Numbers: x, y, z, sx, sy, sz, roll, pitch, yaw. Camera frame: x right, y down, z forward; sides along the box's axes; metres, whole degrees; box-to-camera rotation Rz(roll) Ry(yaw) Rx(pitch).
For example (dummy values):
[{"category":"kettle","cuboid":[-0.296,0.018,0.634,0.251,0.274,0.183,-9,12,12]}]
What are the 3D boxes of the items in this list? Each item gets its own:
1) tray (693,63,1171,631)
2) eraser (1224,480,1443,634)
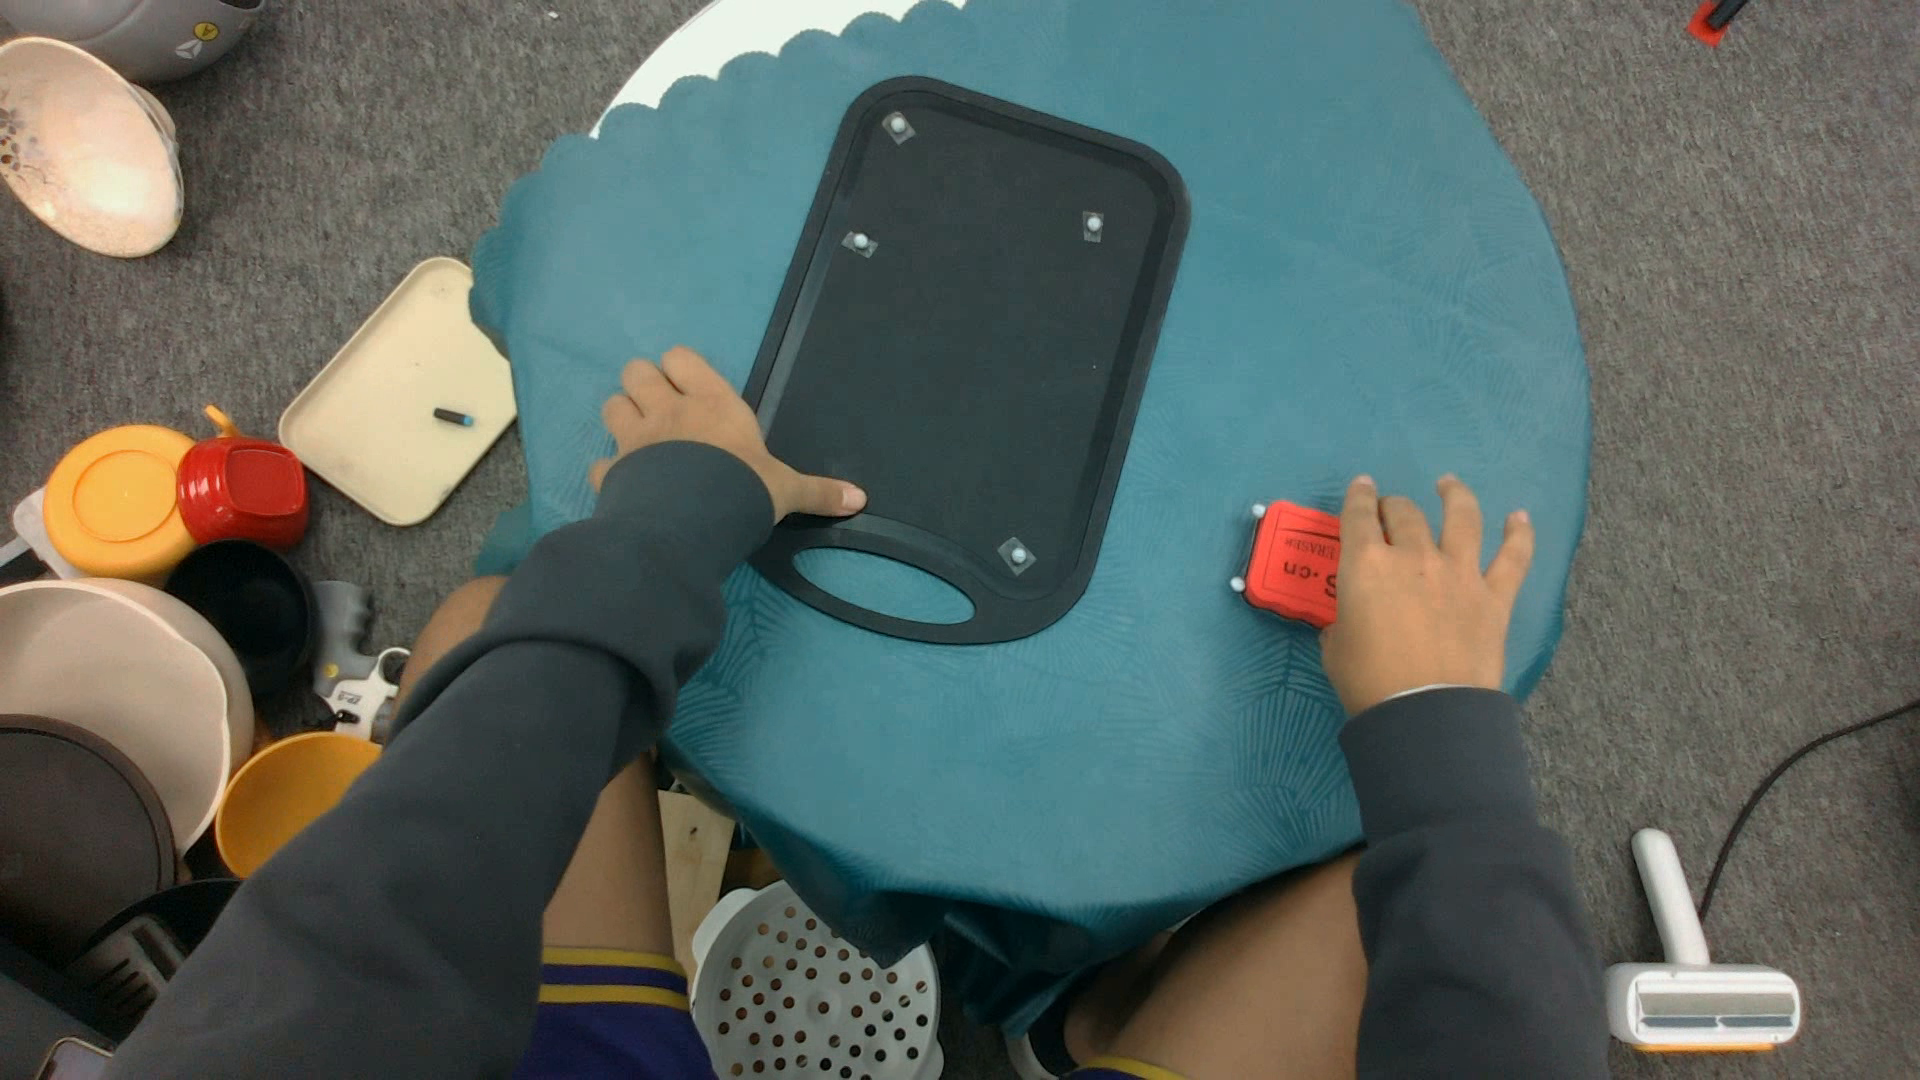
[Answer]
[{"category":"tray","cuboid":[-0.012,-0.110,0.758,0.211,0.010,0.326,17,74,-1]},{"category":"eraser","cuboid":[0.199,0.009,0.734,0.108,0.023,0.059,17,74,0]}]
